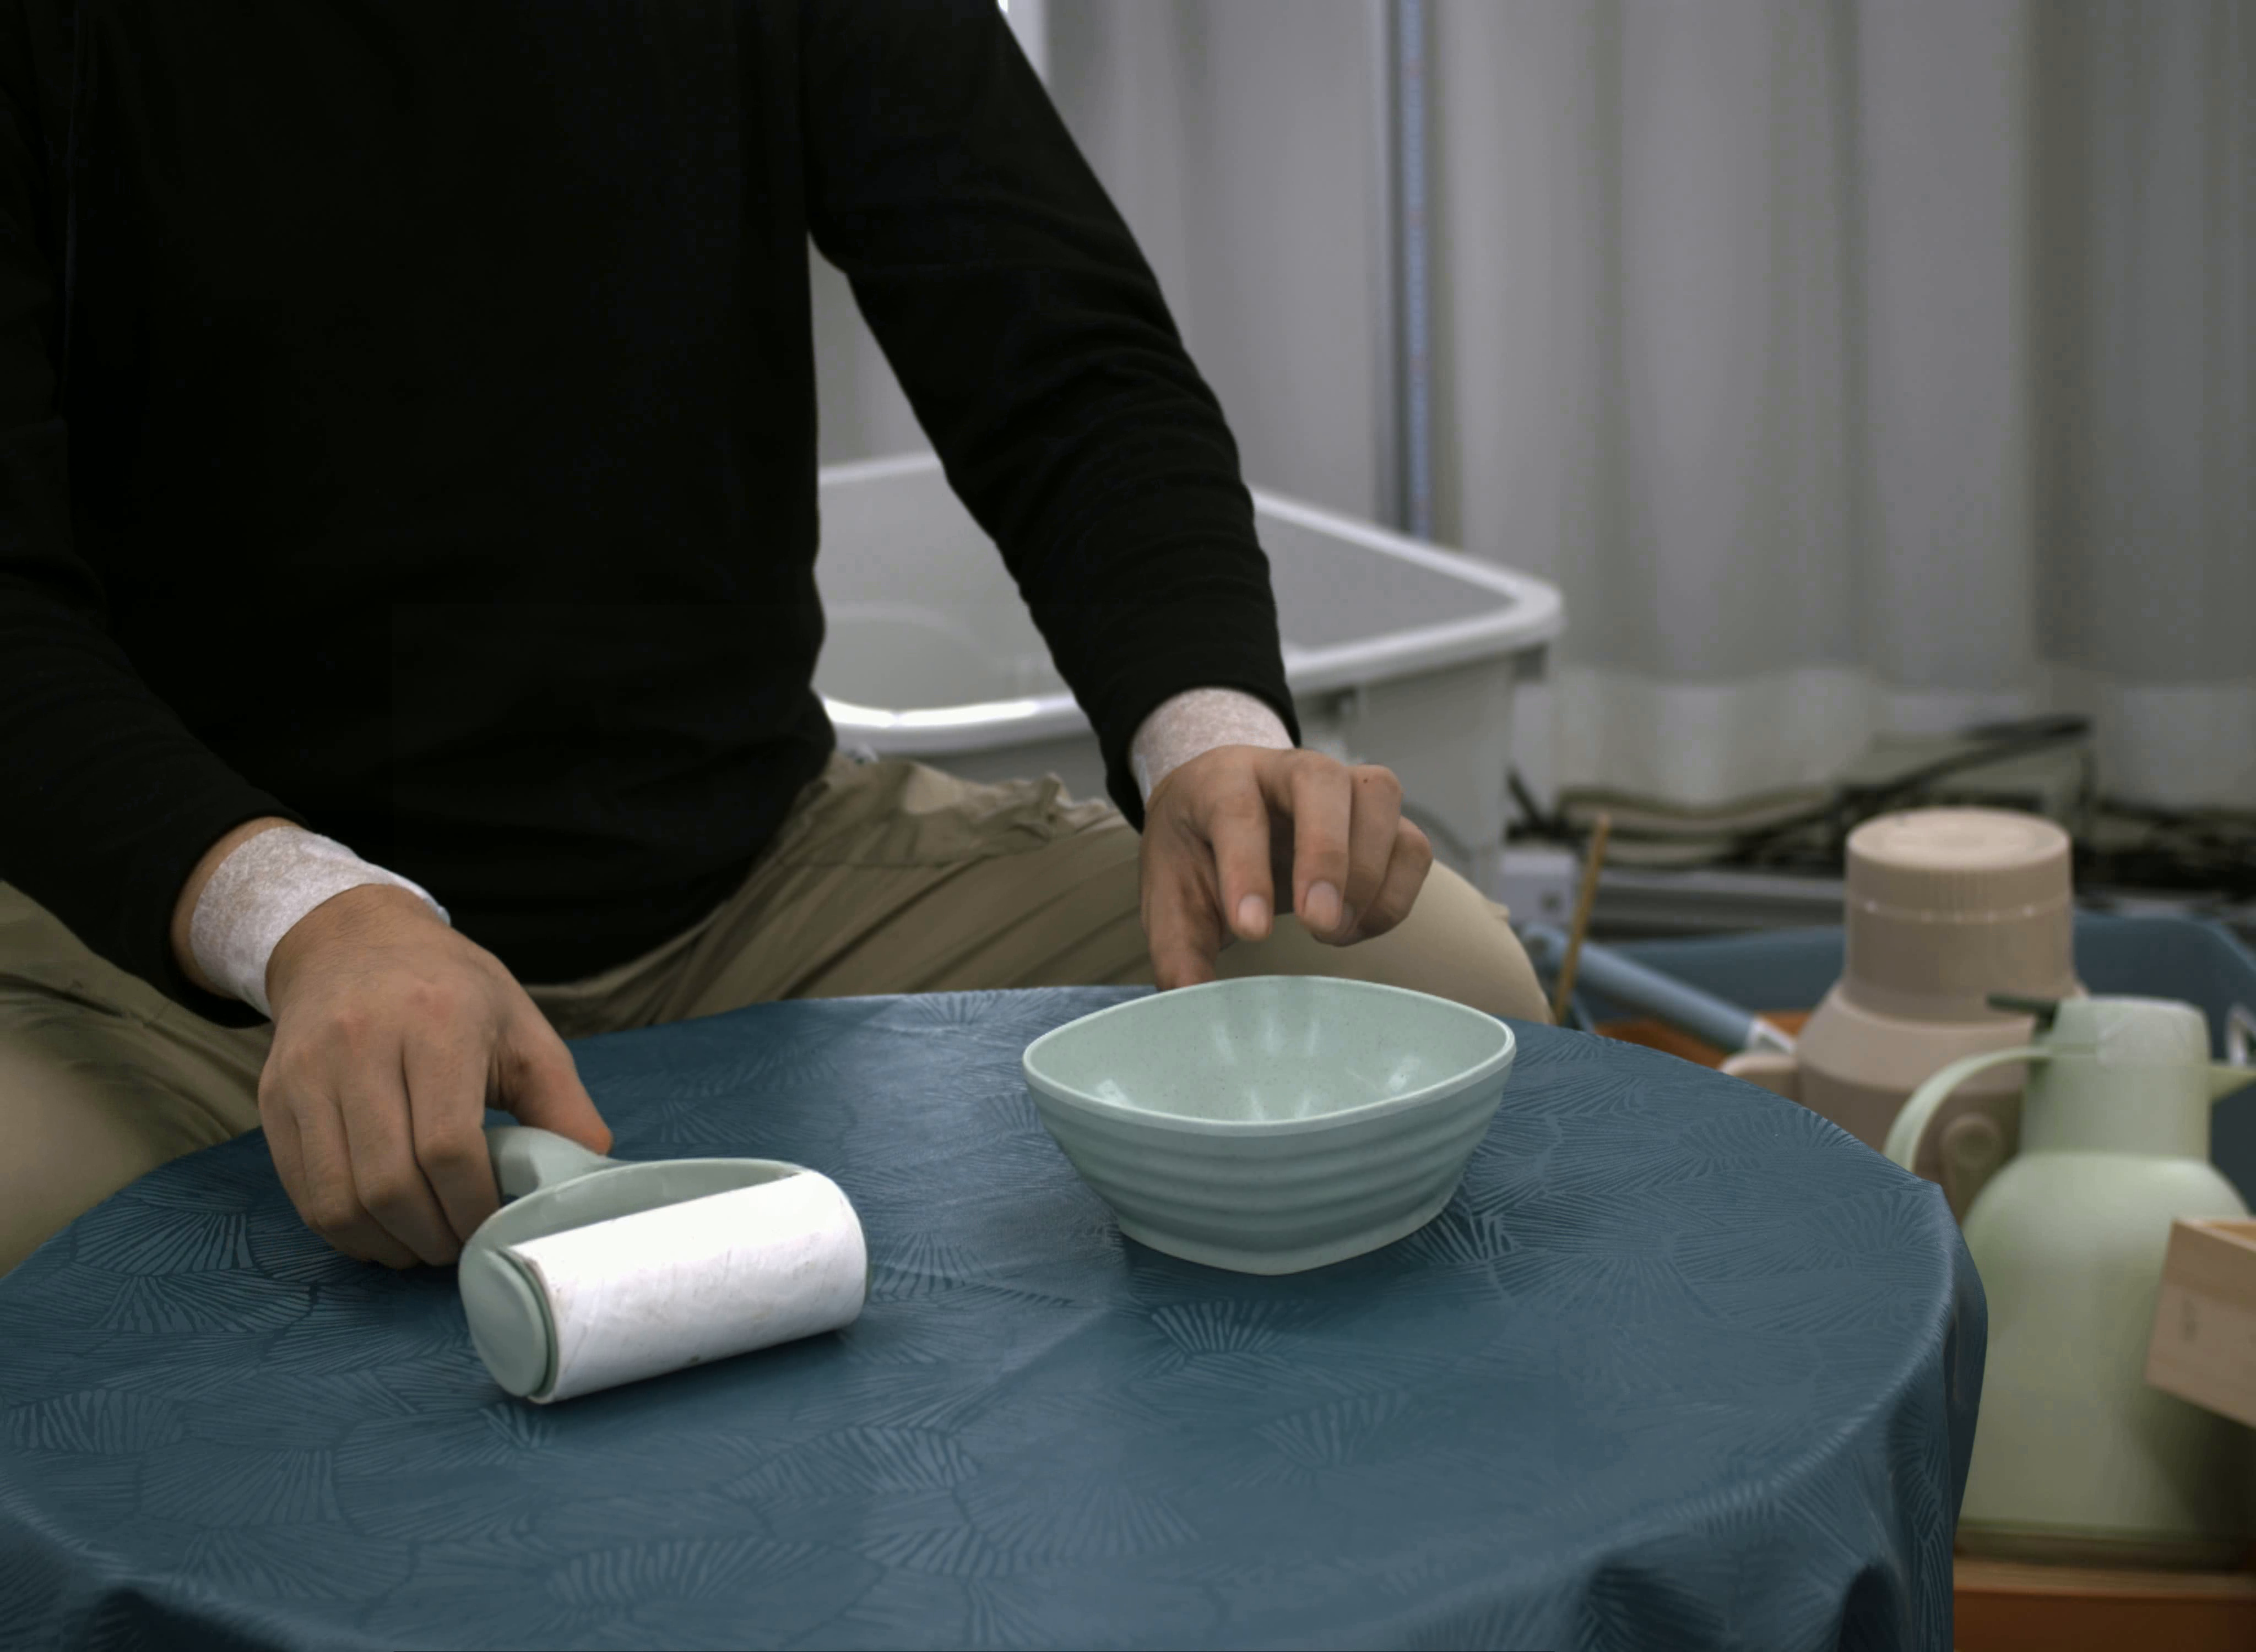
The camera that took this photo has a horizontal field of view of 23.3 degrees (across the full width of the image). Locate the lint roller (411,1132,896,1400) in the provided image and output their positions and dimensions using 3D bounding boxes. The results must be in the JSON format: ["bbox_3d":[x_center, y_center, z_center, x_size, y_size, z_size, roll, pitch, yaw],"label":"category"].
[{"bbox_3d":[-0.163,0.117,1.643,0.116,0.048,0.199,-14,19,-30],"label":"lint roller"}]

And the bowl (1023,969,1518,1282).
[{"bbox_3d":[0.044,0.095,1.671,0.151,0.058,0.152,-3,16,0],"label":"bowl"}]
